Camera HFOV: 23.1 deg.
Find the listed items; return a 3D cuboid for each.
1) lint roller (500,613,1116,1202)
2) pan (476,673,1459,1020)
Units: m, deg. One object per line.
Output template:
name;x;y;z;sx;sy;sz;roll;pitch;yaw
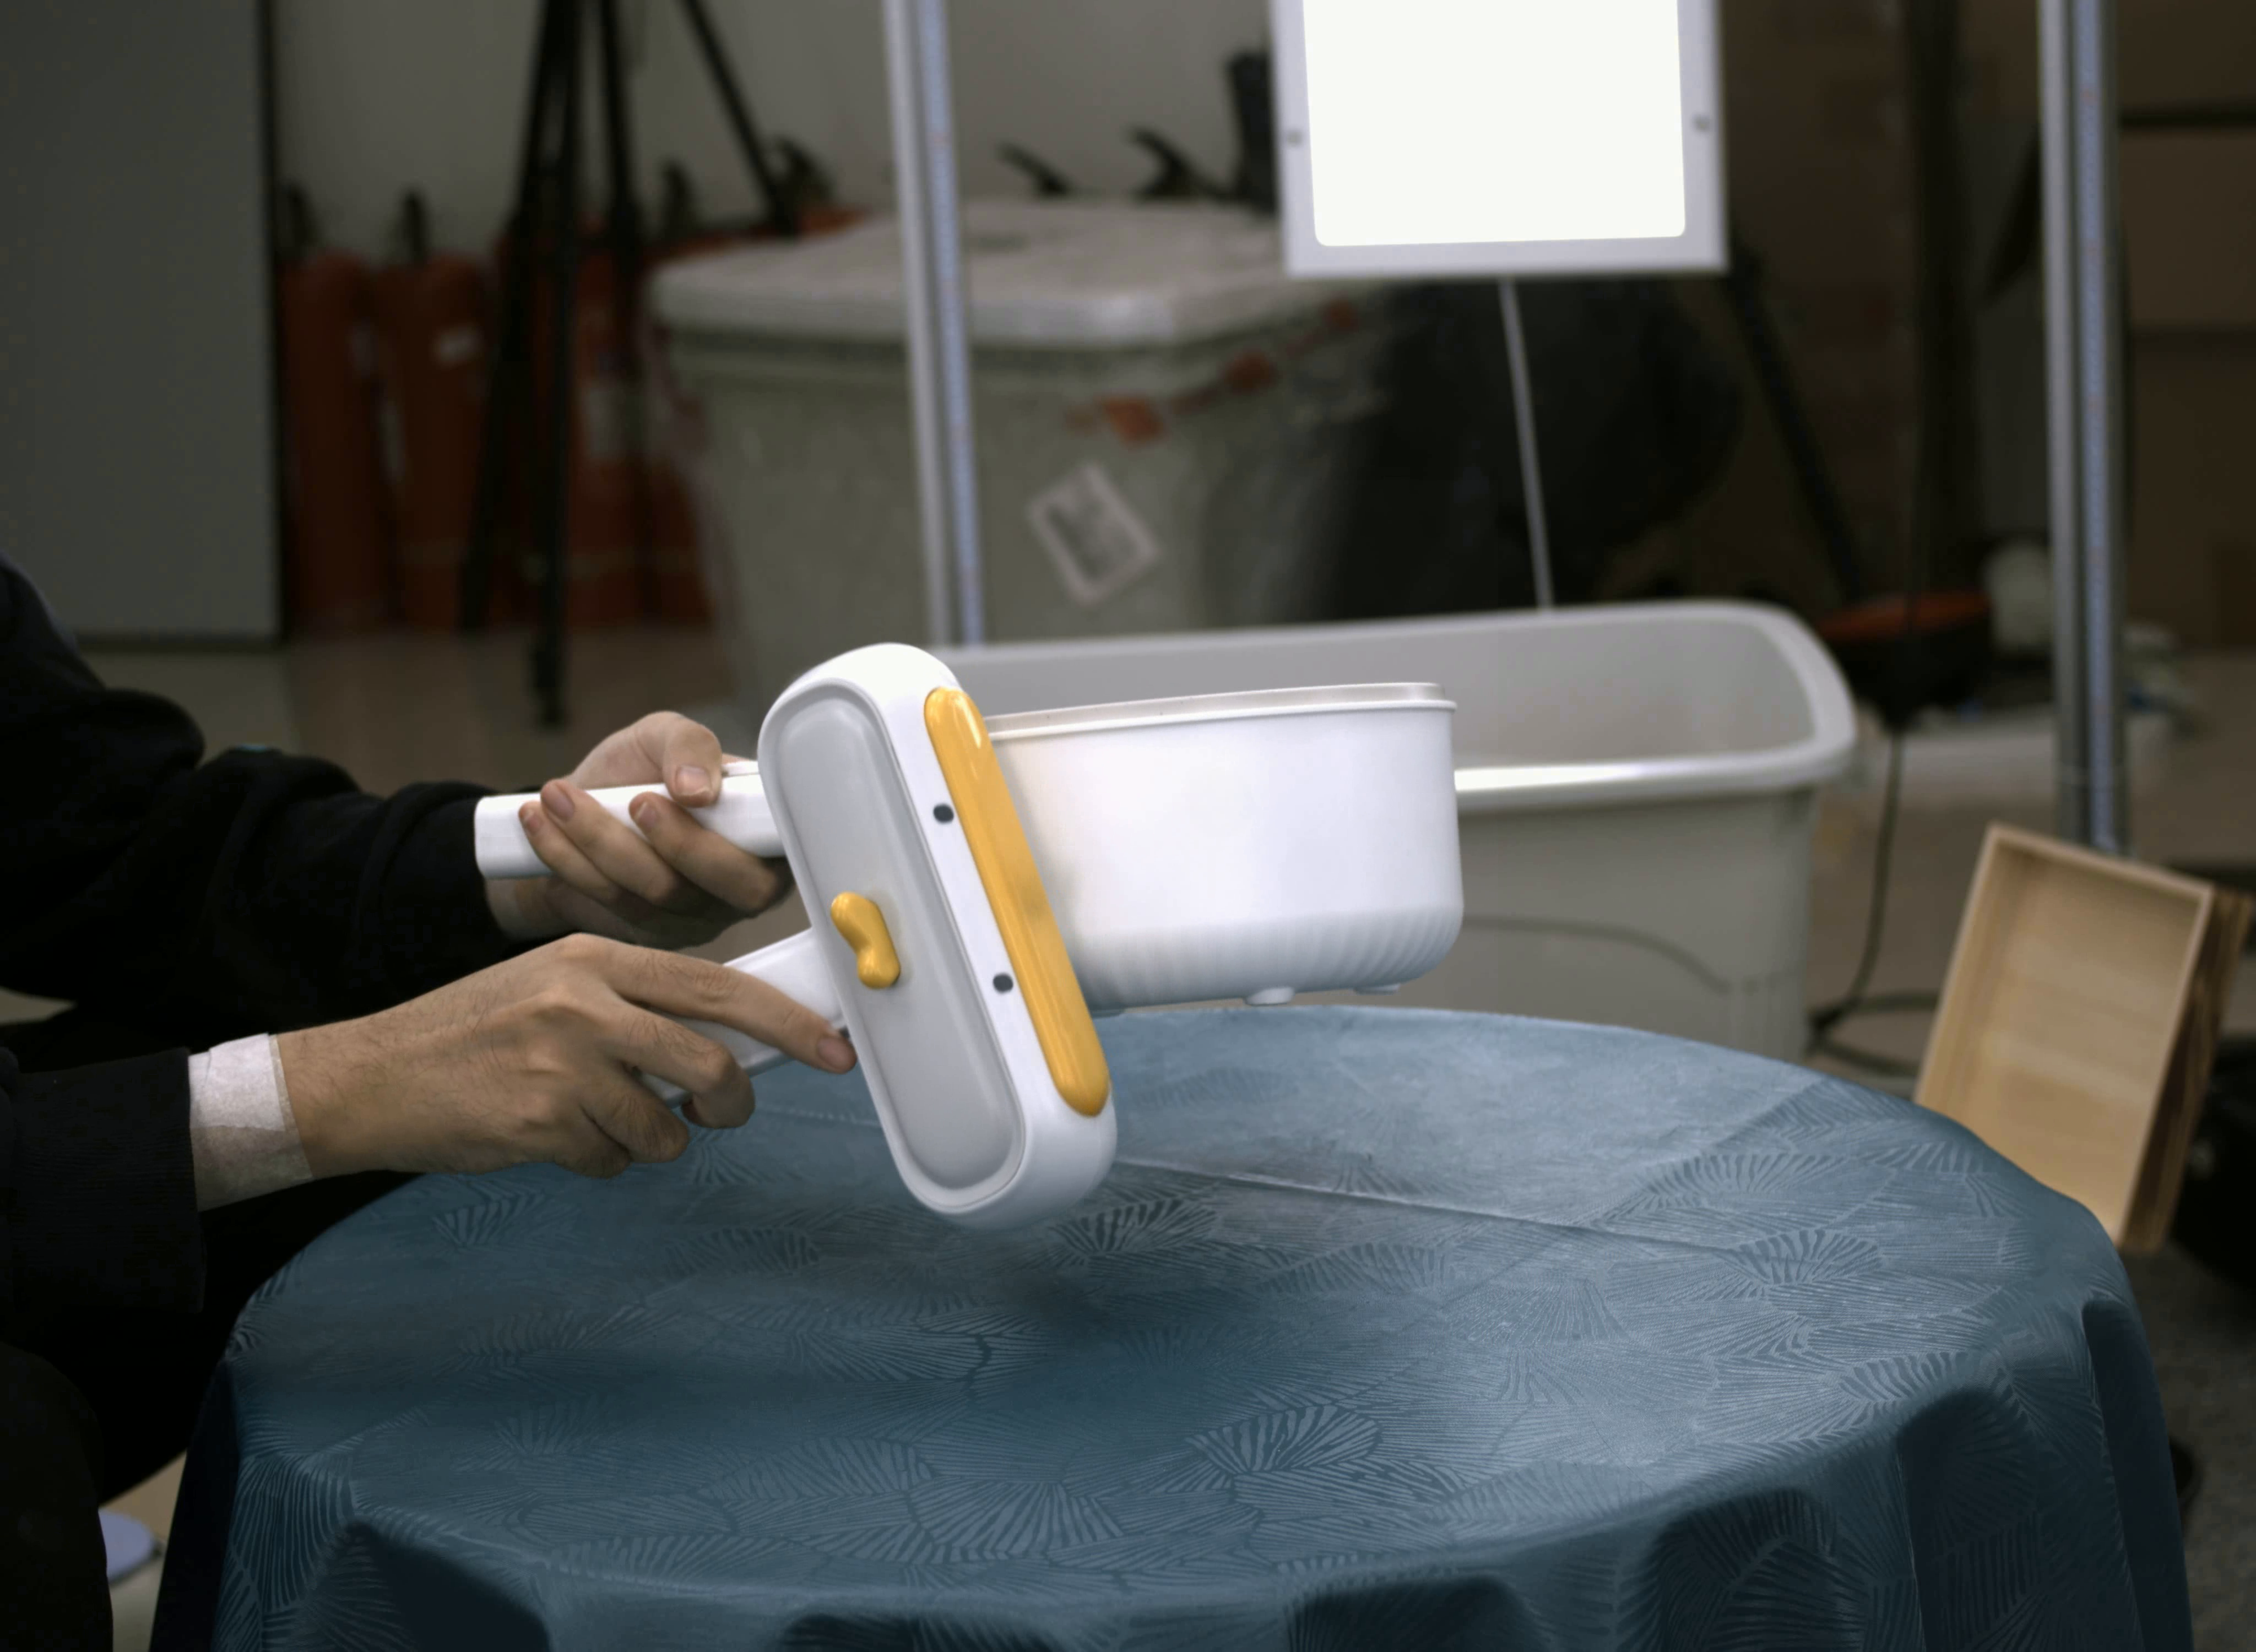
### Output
lint roller;-0.114;0.052;1.764;0.196;0.193;0.072;-29;-9;26
pan;-0.058;0.019;1.870;0.360;0.102;0.197;-7;-3;24
